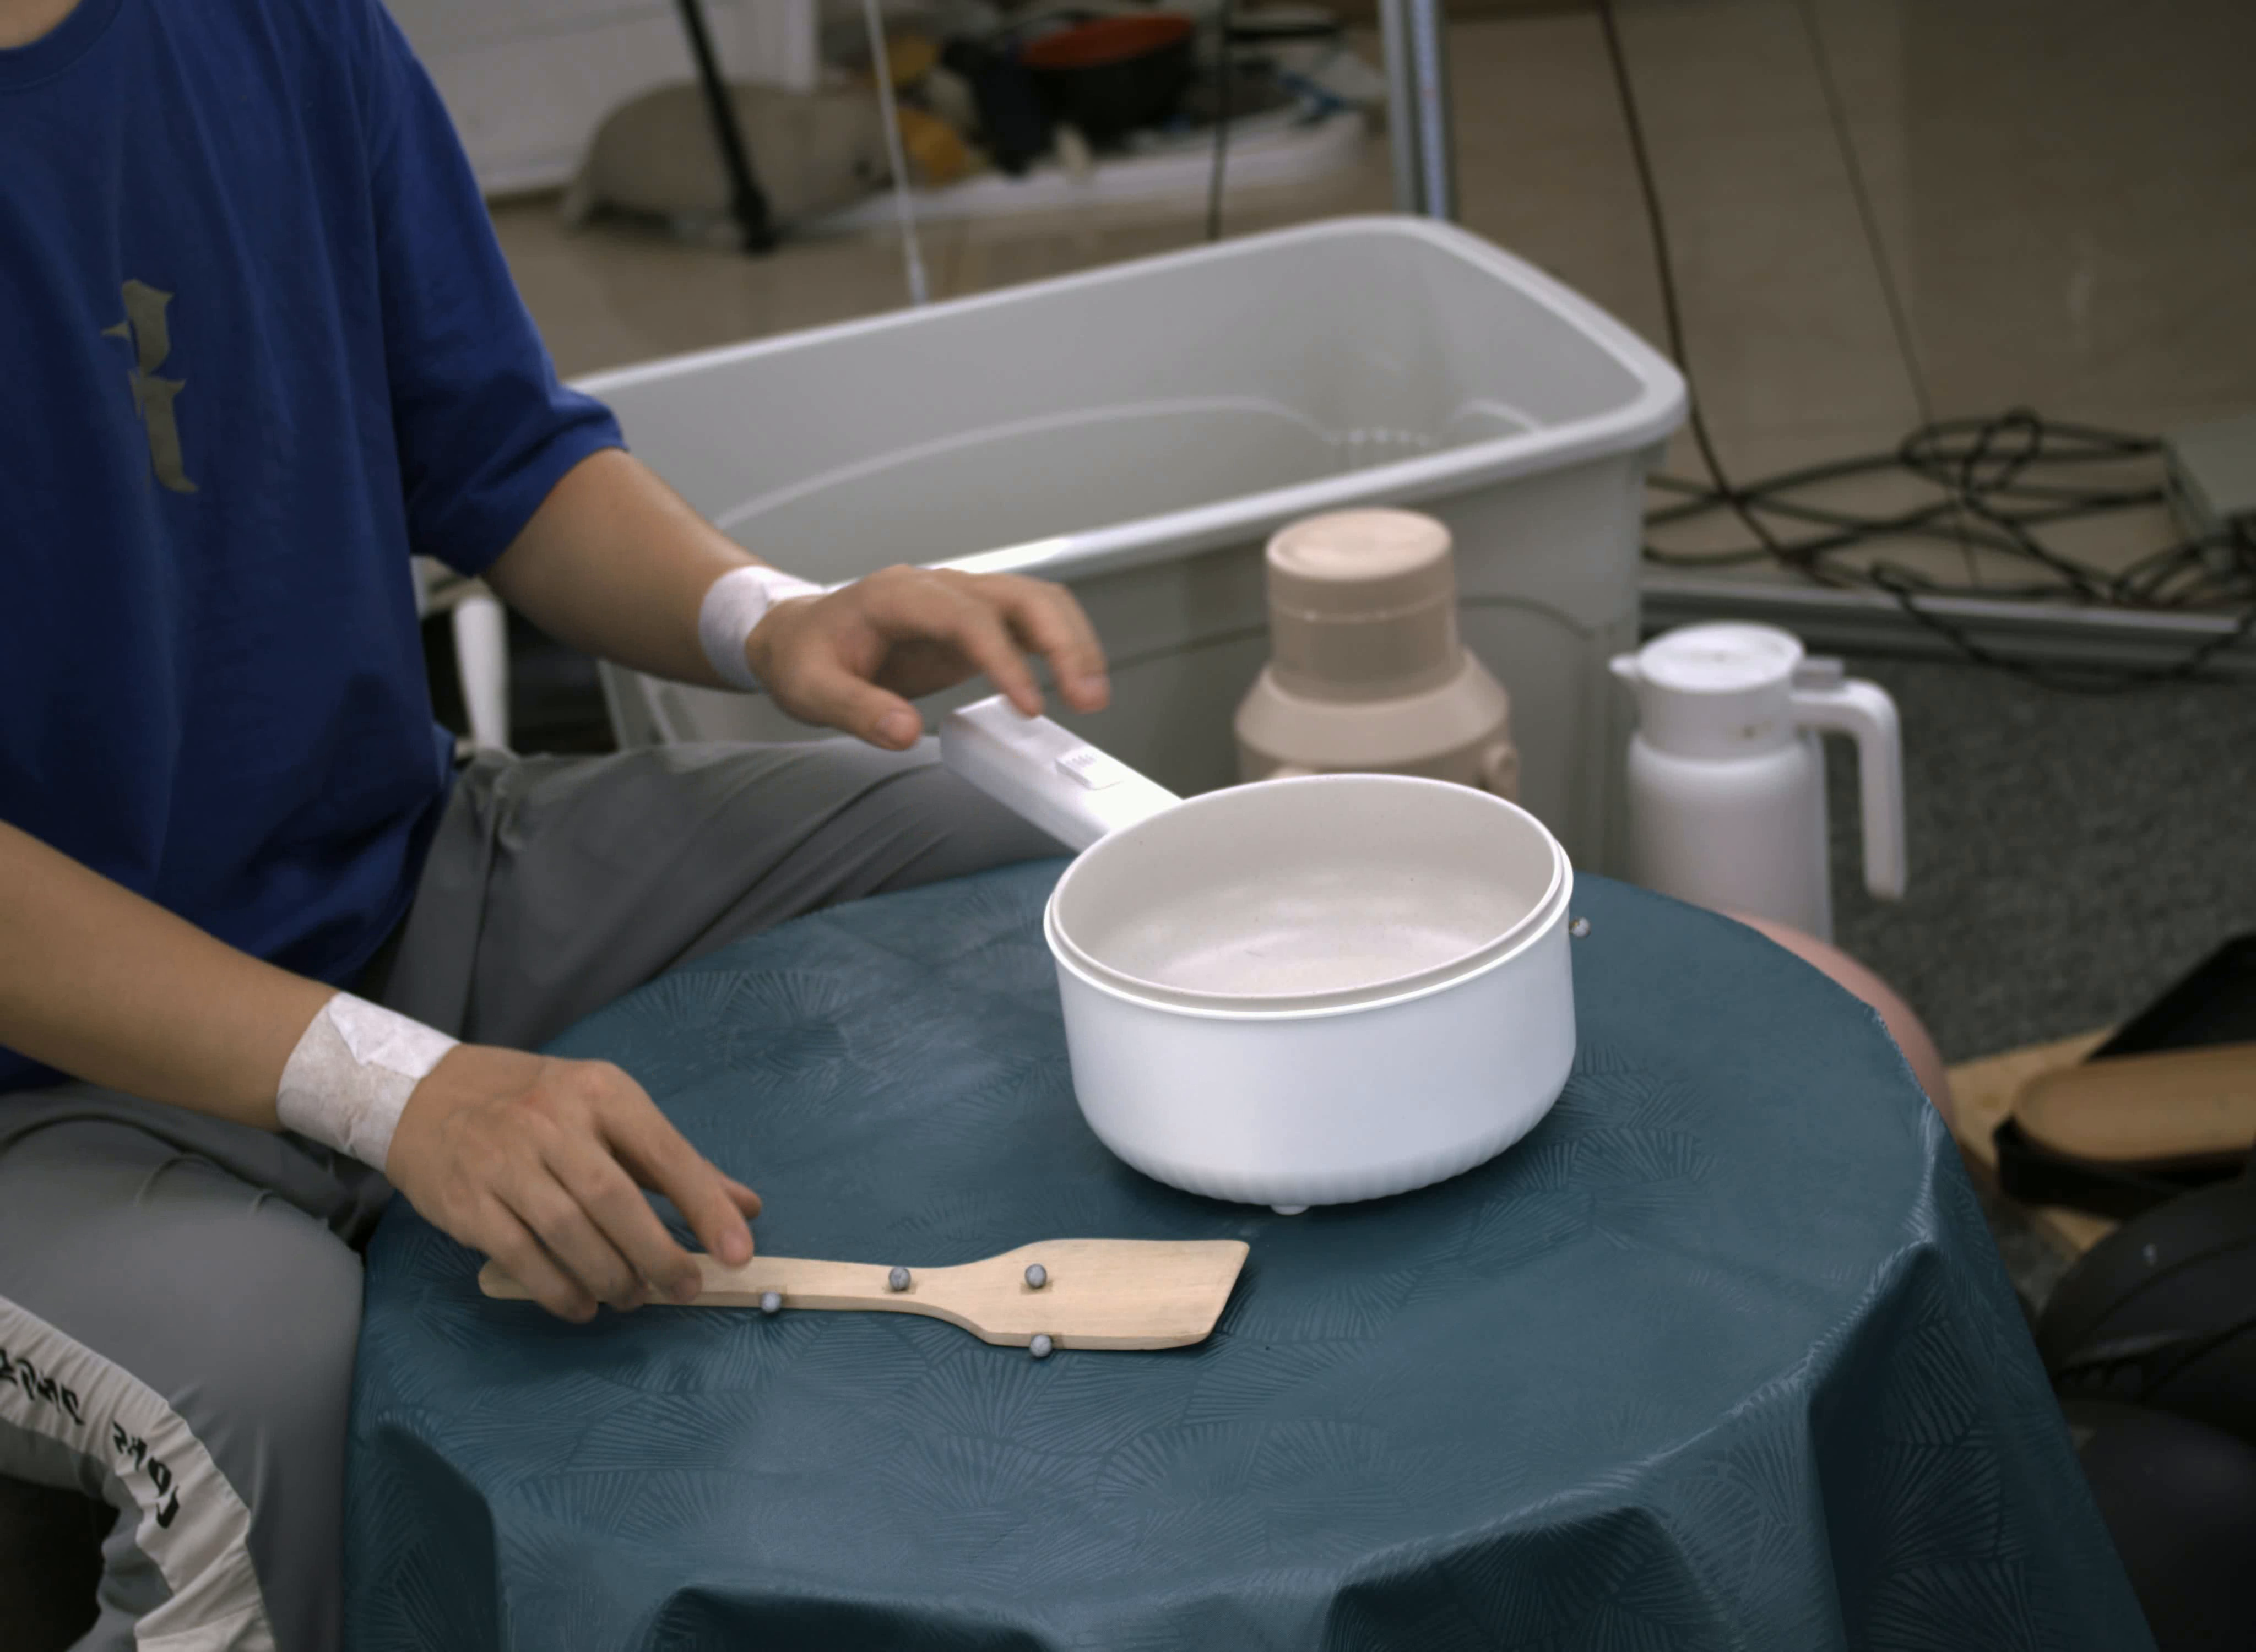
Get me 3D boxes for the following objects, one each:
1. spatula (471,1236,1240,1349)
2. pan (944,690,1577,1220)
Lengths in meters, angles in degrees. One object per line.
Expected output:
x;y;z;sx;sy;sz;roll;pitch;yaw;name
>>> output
-0.106;0.169;2.098;0.292;0.011;0.071;1;27;16;spatula
0.033;0.044;2.226;0.200;0.104;0.351;-22;29;-25;pan
